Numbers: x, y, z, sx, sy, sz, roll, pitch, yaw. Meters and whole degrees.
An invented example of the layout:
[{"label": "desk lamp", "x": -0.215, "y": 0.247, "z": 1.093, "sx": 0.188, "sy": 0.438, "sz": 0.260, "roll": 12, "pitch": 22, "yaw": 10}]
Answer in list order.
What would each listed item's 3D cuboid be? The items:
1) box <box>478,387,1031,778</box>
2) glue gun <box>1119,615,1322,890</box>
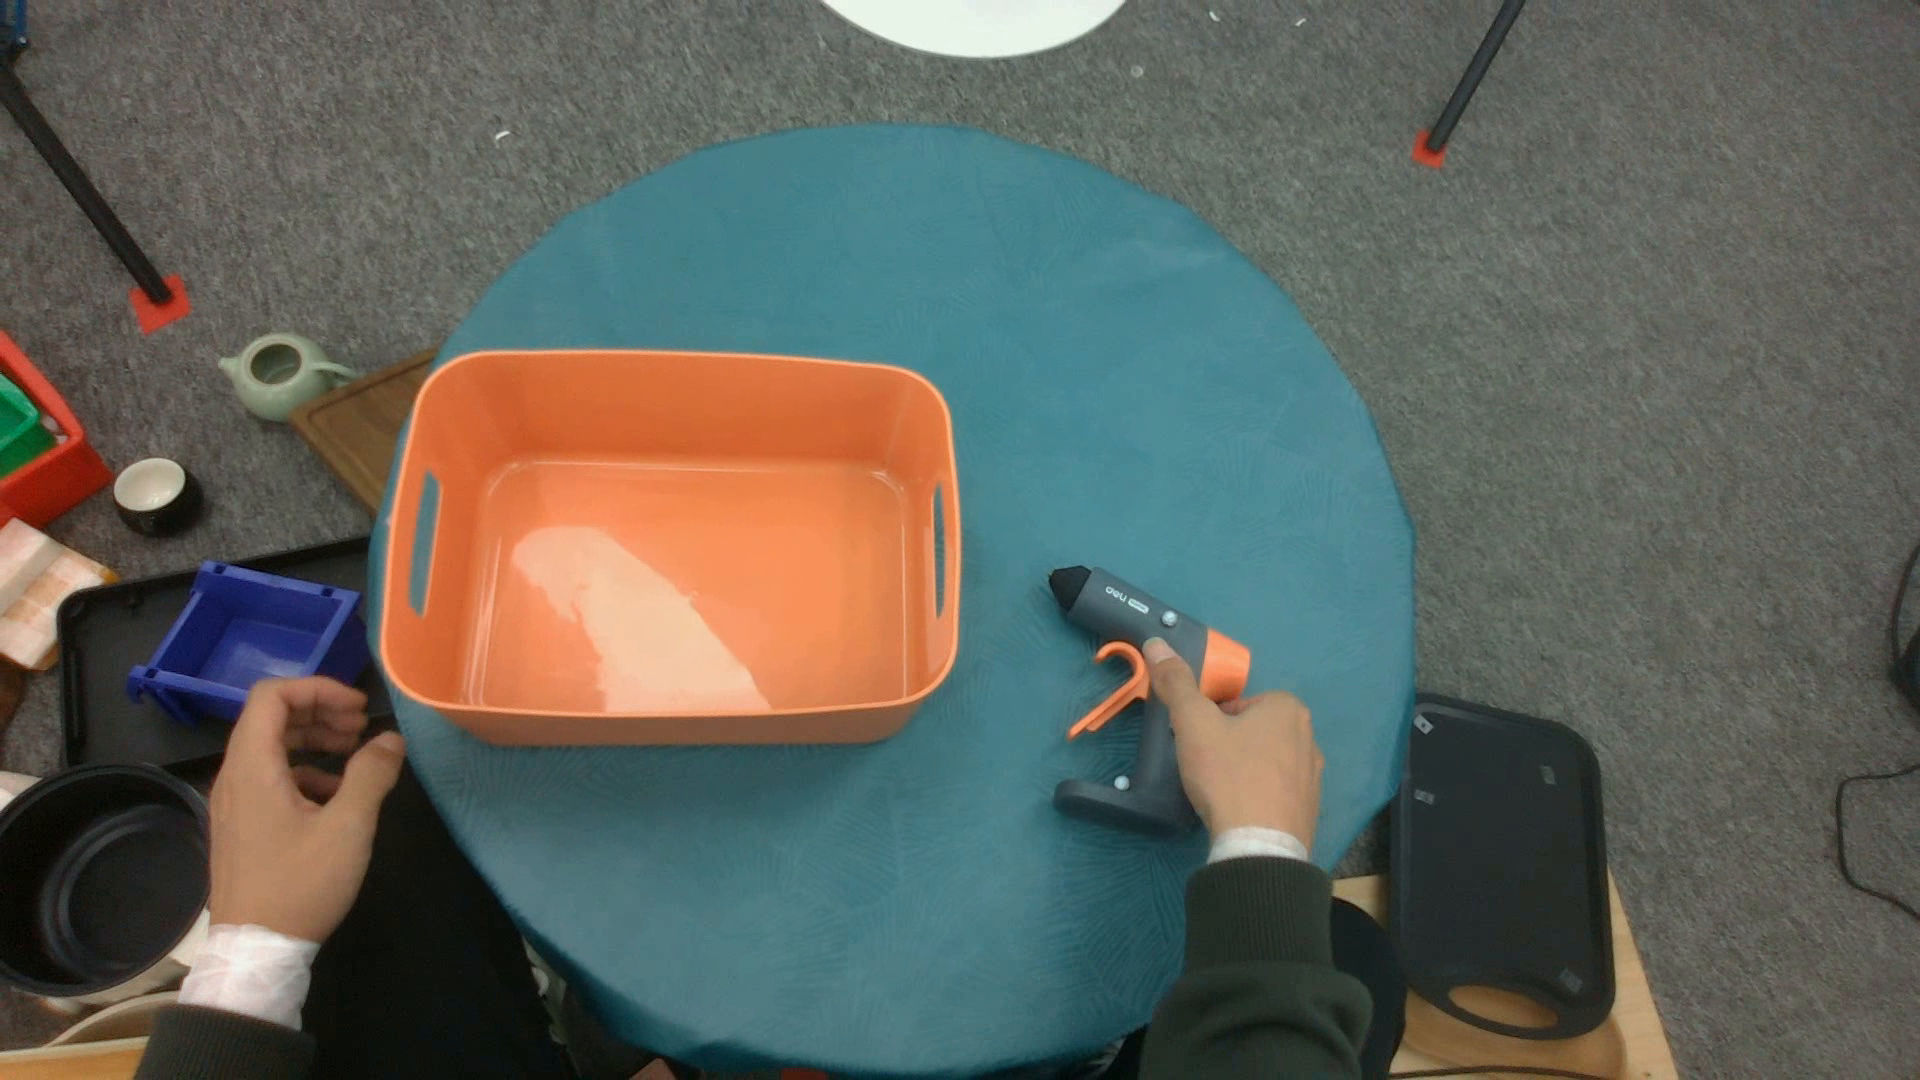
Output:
[{"label": "box", "x": -0.102, "y": 0.030, "z": 0.742, "sx": 0.273, "sy": 0.102, "sz": 0.200, "roll": 2, "pitch": 64, "yaw": -4}, {"label": "glue gun", "x": 0.134, "y": 0.113, "z": 0.761, "sx": 0.118, "sy": 0.041, "sz": 0.140, "roll": 14, "pitch": 61, "yaw": 4}]
